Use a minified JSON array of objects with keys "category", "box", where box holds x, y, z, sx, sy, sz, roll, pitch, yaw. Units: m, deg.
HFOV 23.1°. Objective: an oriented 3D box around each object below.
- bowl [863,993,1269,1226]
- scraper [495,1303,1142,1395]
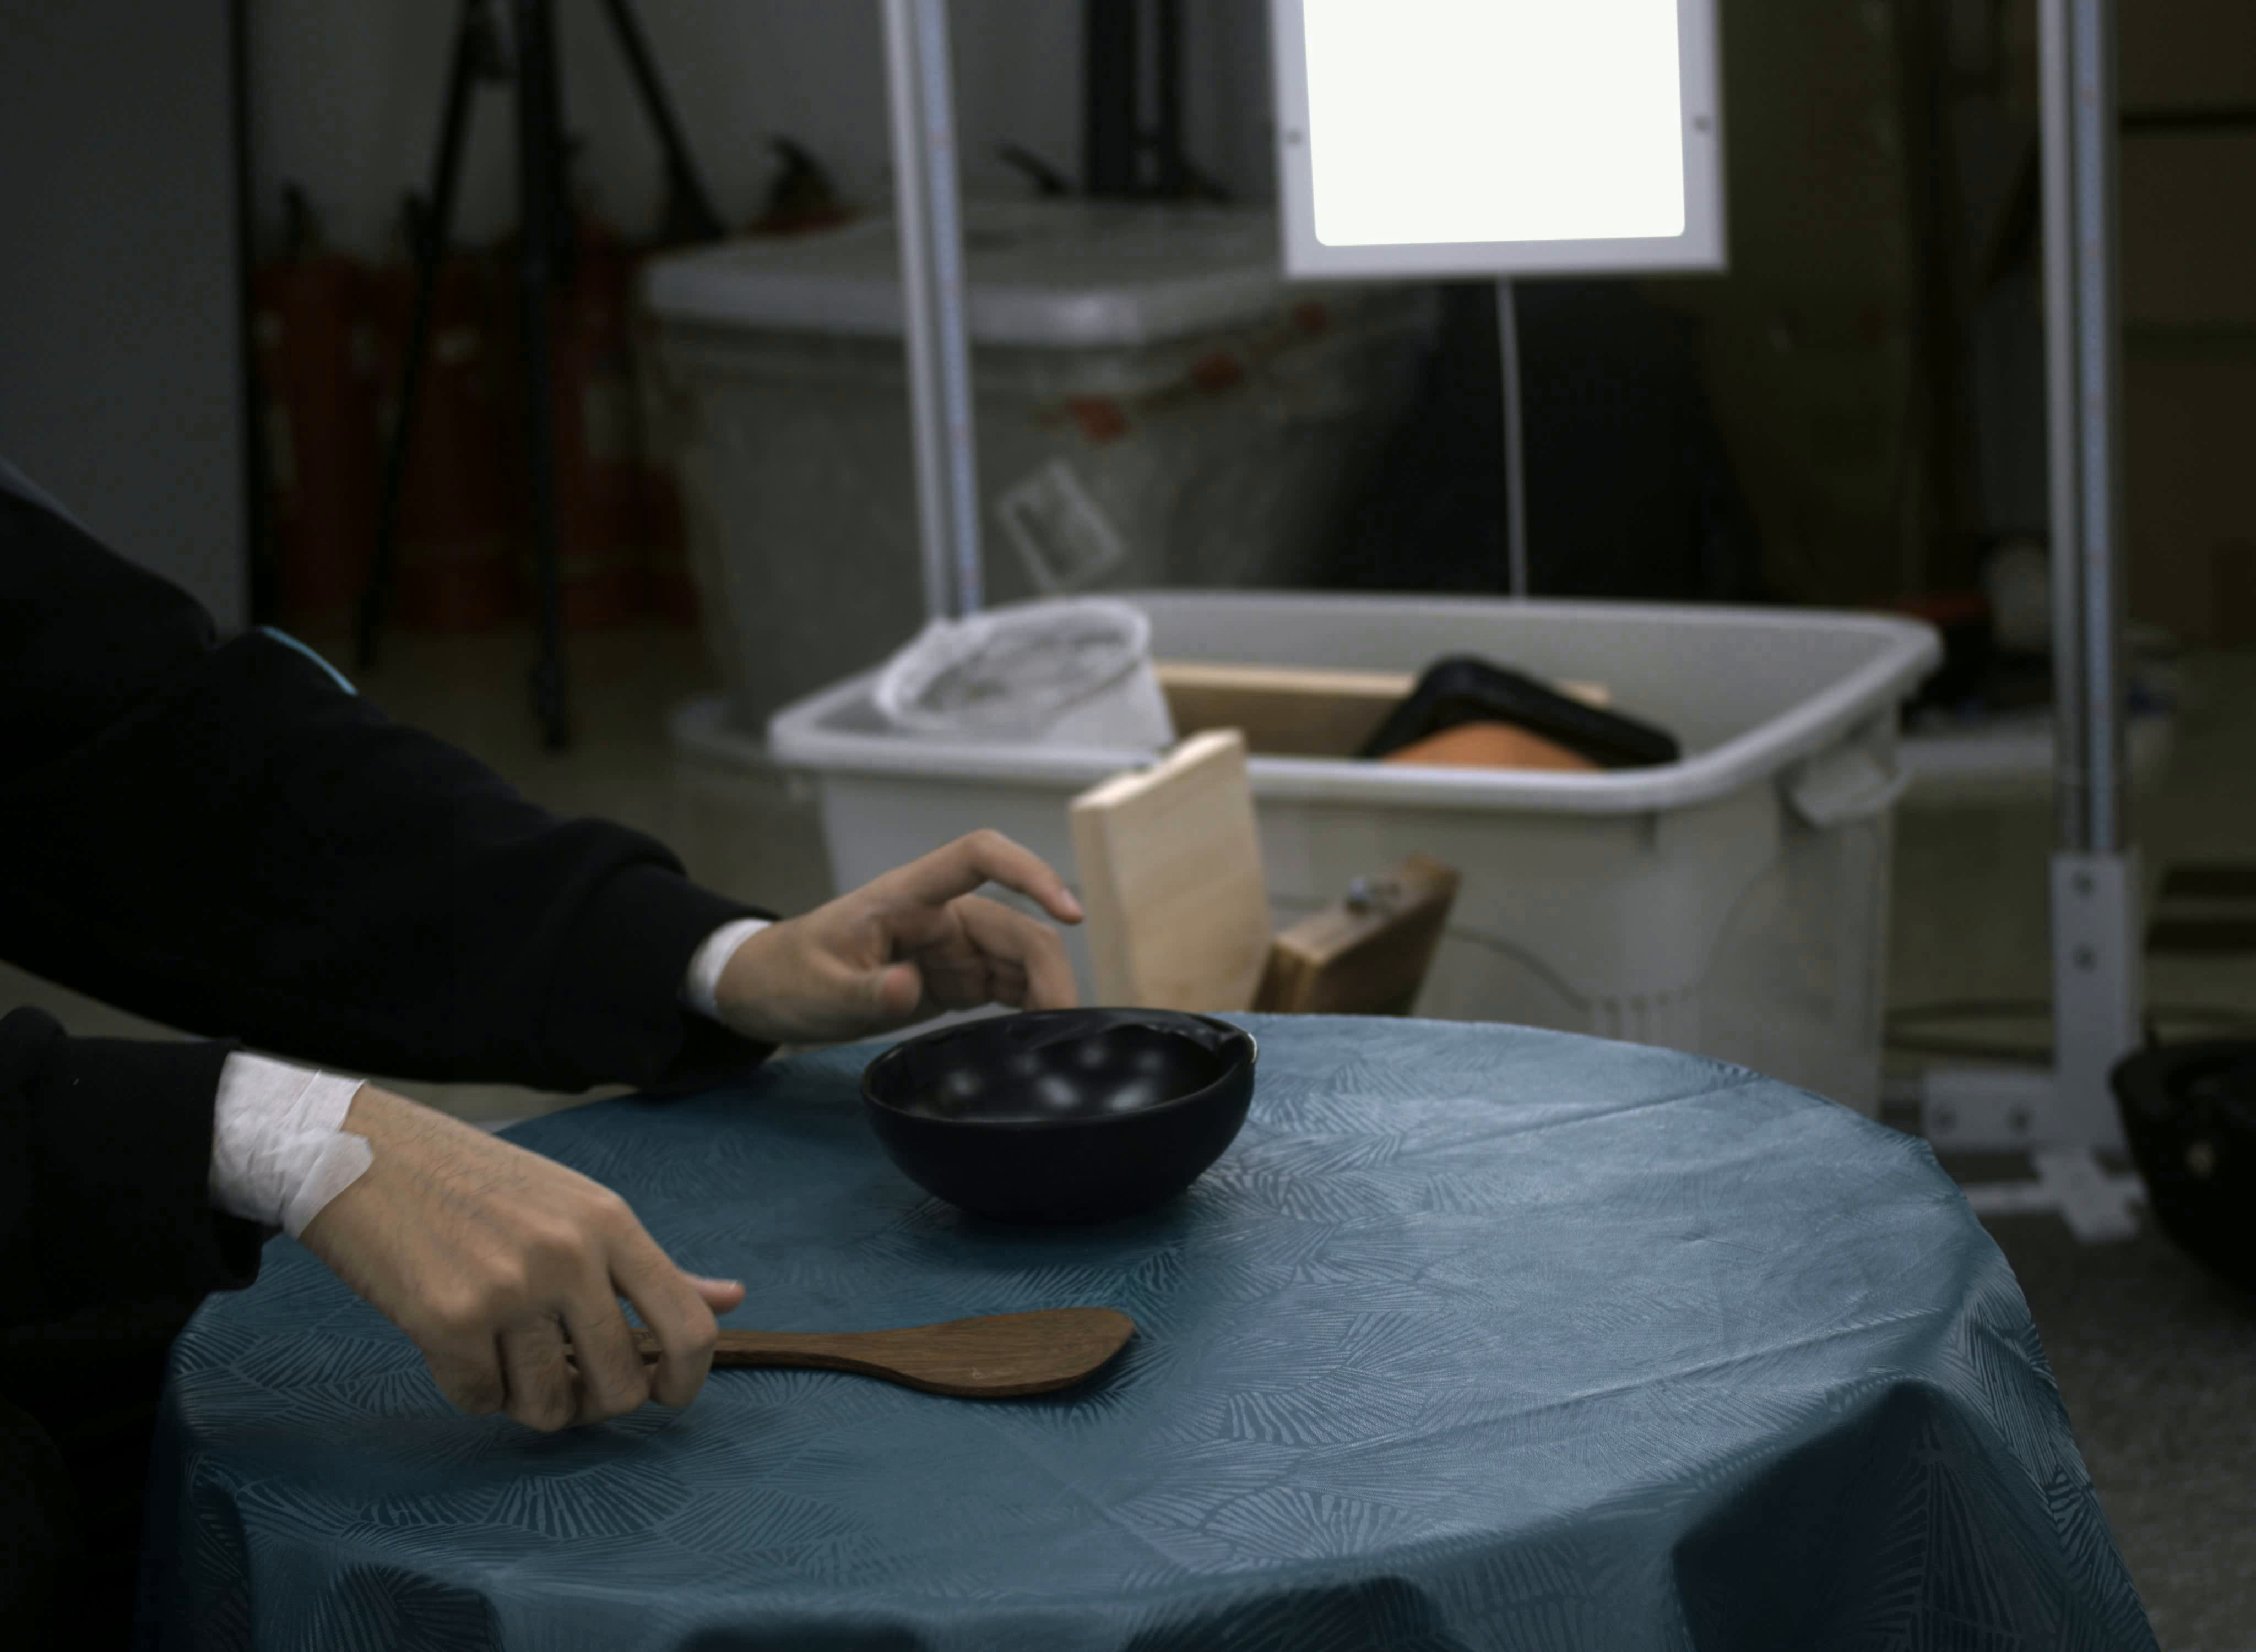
[{"category":"bowl","box":[-0.021,0.102,1.894,0.139,0.050,0.140,-3,17,-1]},{"category":"scraper","box":[-0.100,0.166,1.755,0.213,0.011,0.075,-1,13,17]}]
